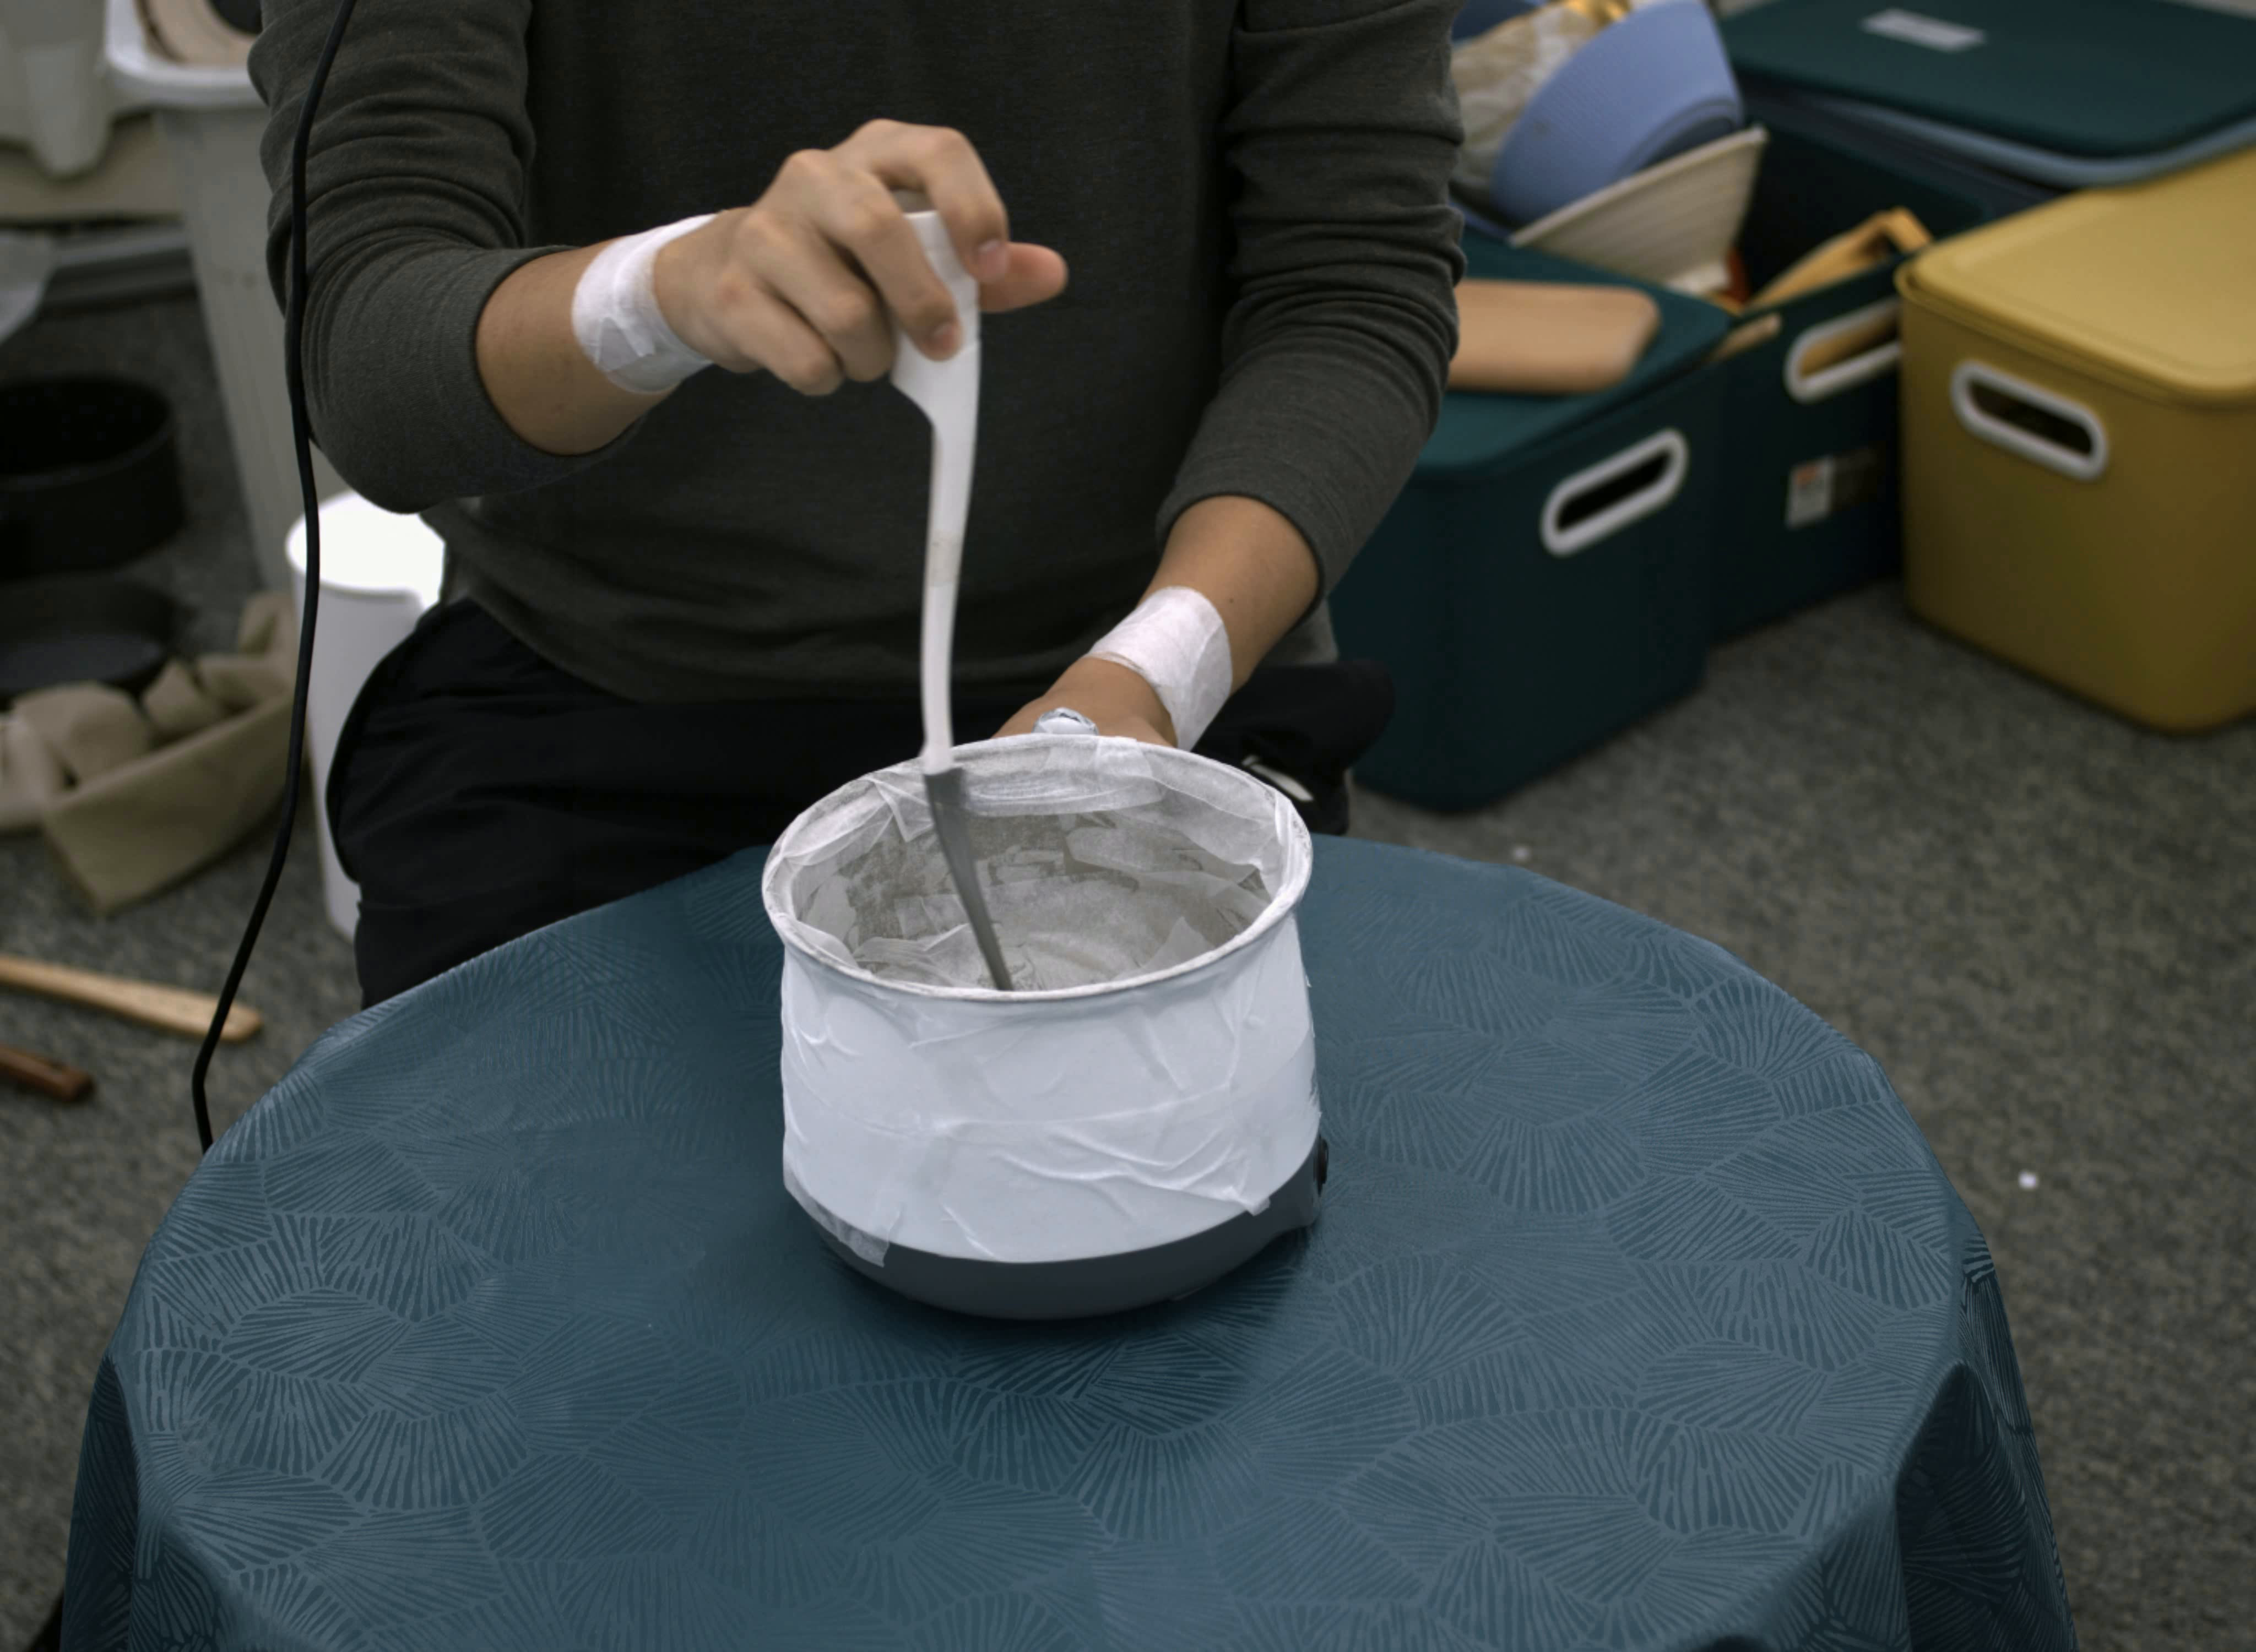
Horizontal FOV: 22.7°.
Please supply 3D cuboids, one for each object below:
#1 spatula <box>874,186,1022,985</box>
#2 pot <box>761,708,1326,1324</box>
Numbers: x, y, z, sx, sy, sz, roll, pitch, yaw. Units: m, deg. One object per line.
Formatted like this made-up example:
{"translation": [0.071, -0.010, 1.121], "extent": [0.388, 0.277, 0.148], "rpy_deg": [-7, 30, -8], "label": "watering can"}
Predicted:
{"translation": [-0.049, -0.053, 1.736], "extent": [0.032, 0.286, 0.059], "rpy_deg": [-7, 18, -7], "label": "spatula"}
{"translation": [-0.025, 0.055, 1.847], "extent": [0.178, 0.135, 0.237], "rpy_deg": [-1, 27, 4], "label": "pot"}
